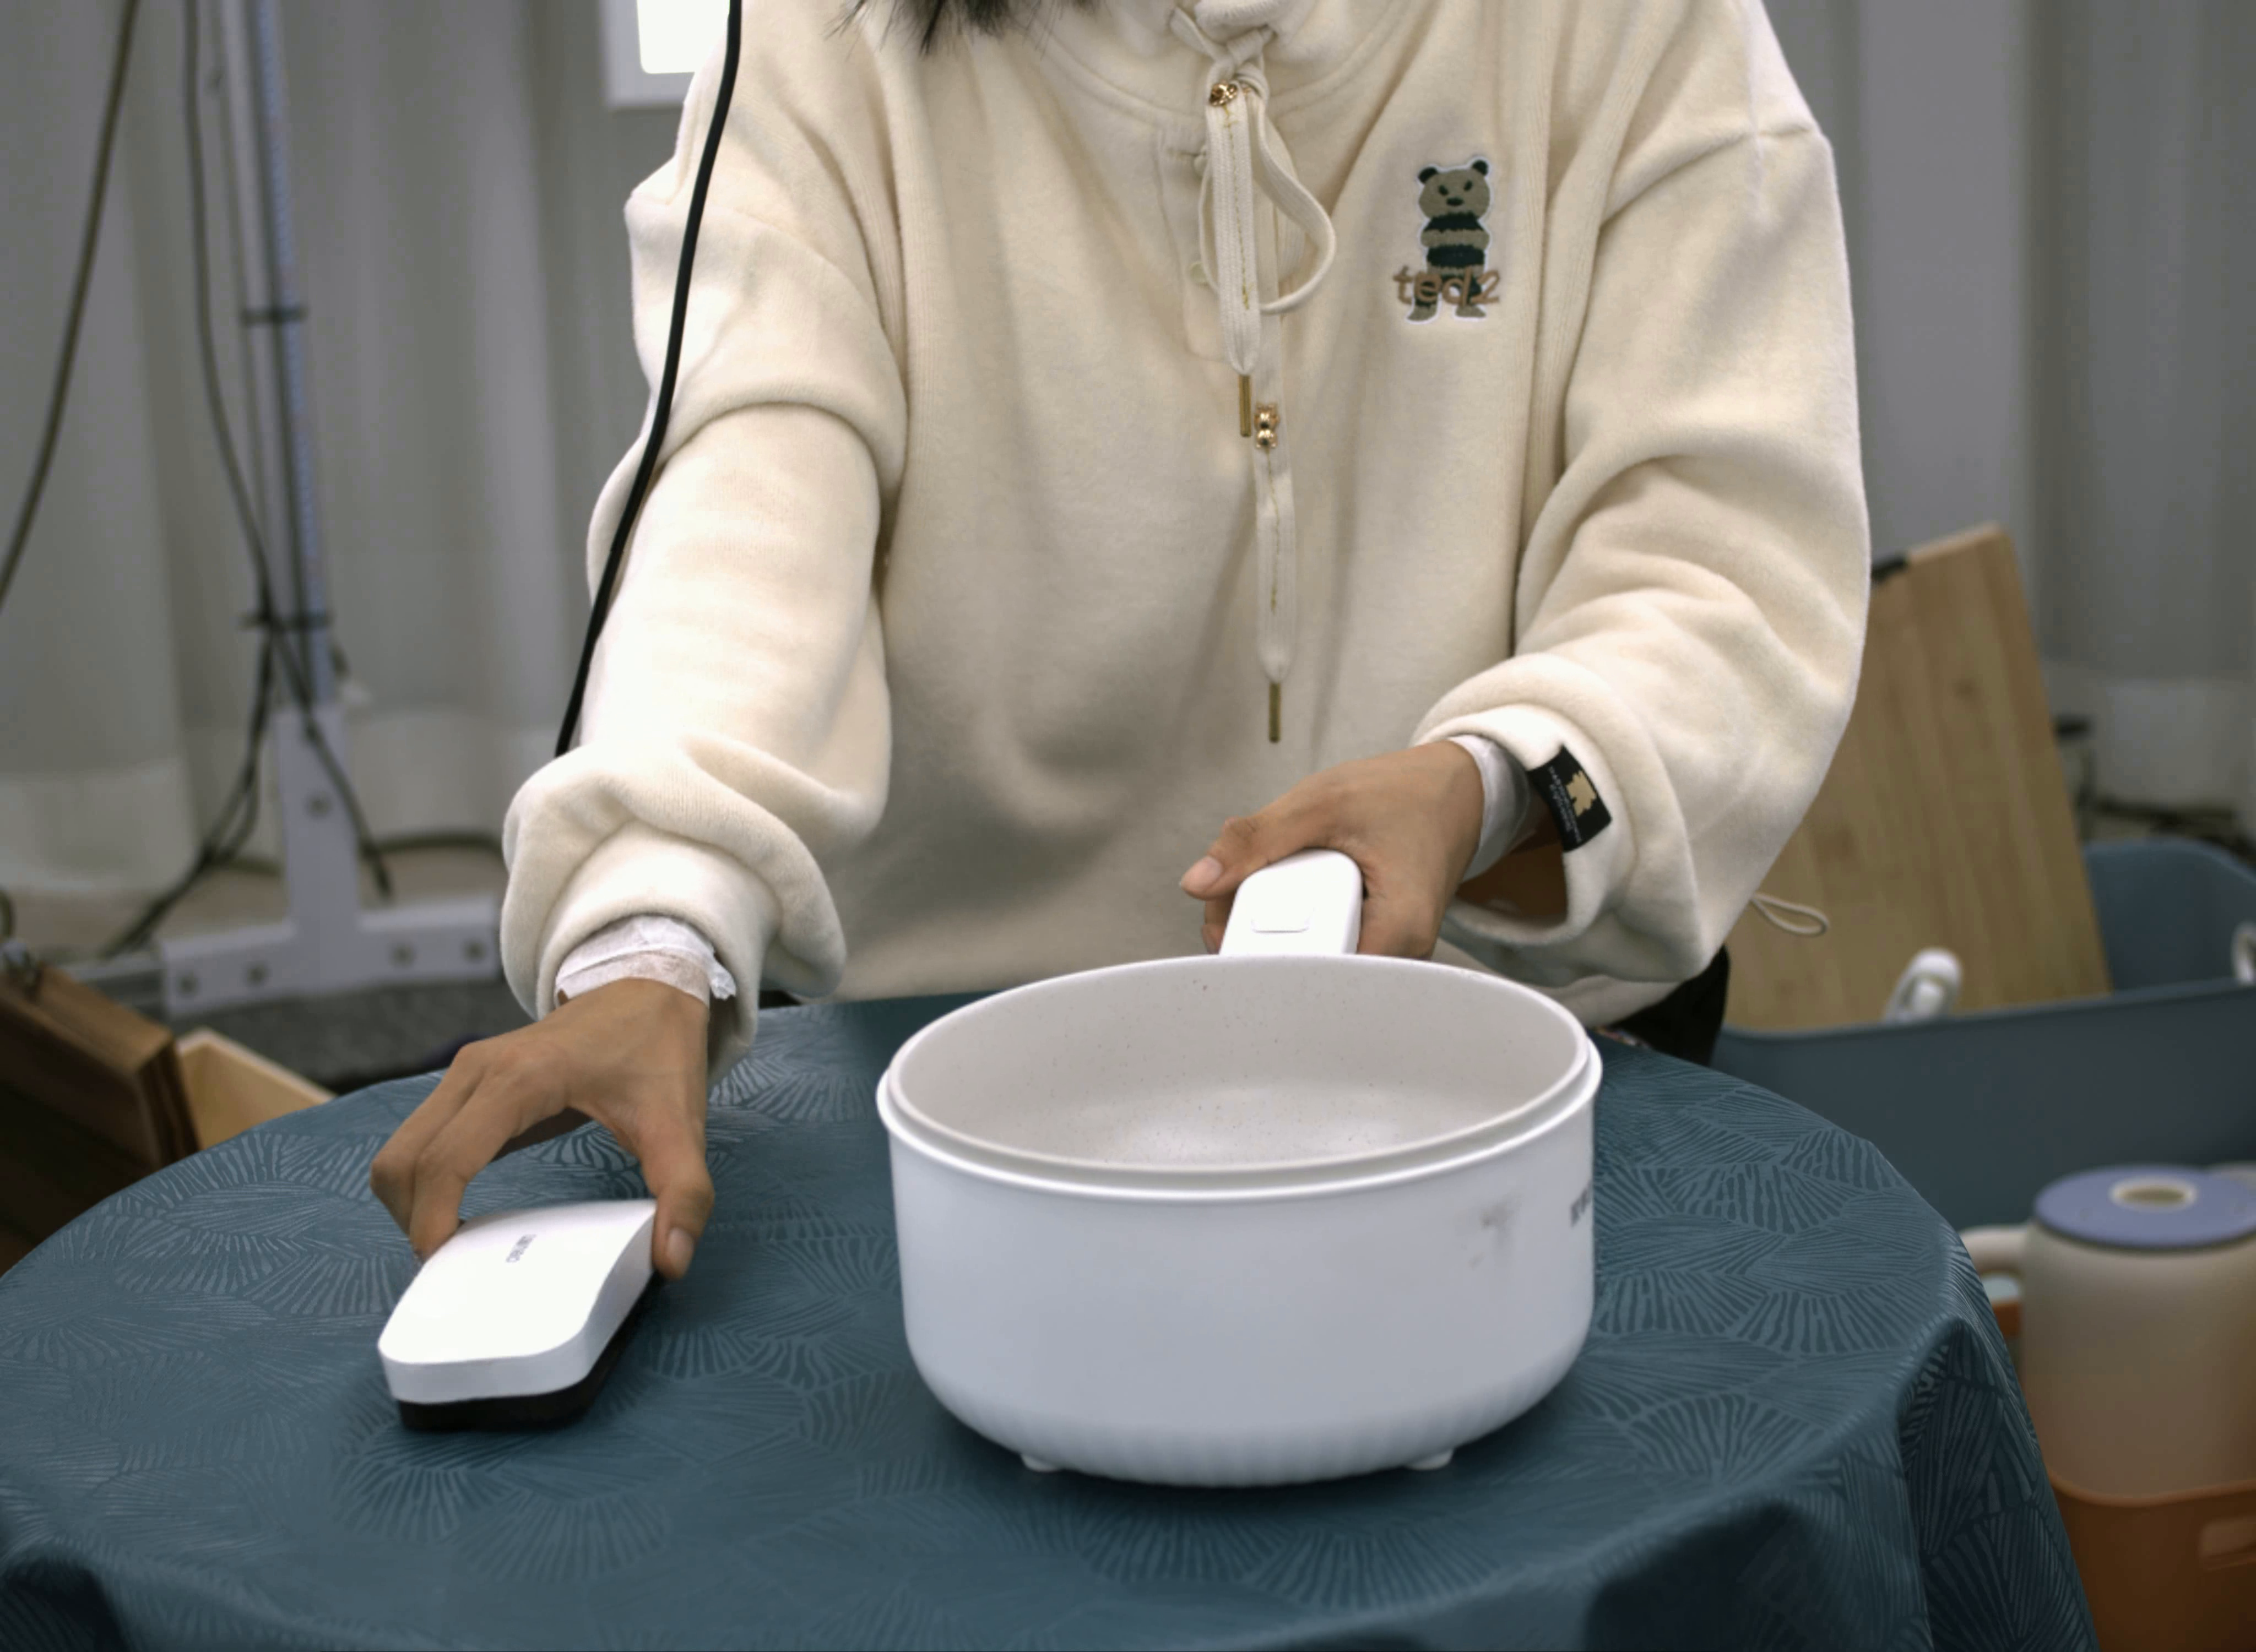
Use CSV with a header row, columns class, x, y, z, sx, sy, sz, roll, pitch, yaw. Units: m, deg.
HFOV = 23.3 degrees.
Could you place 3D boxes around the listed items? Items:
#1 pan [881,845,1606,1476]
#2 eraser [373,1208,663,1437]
class,x,y,z,sx,sy,sz,roll,pitch,yaw
pan,0.041,0.092,1.597,0.201,0.102,0.356,0,13,6
eraser,-0.174,0.140,1.590,0.063,0.034,0.132,-1,15,9
